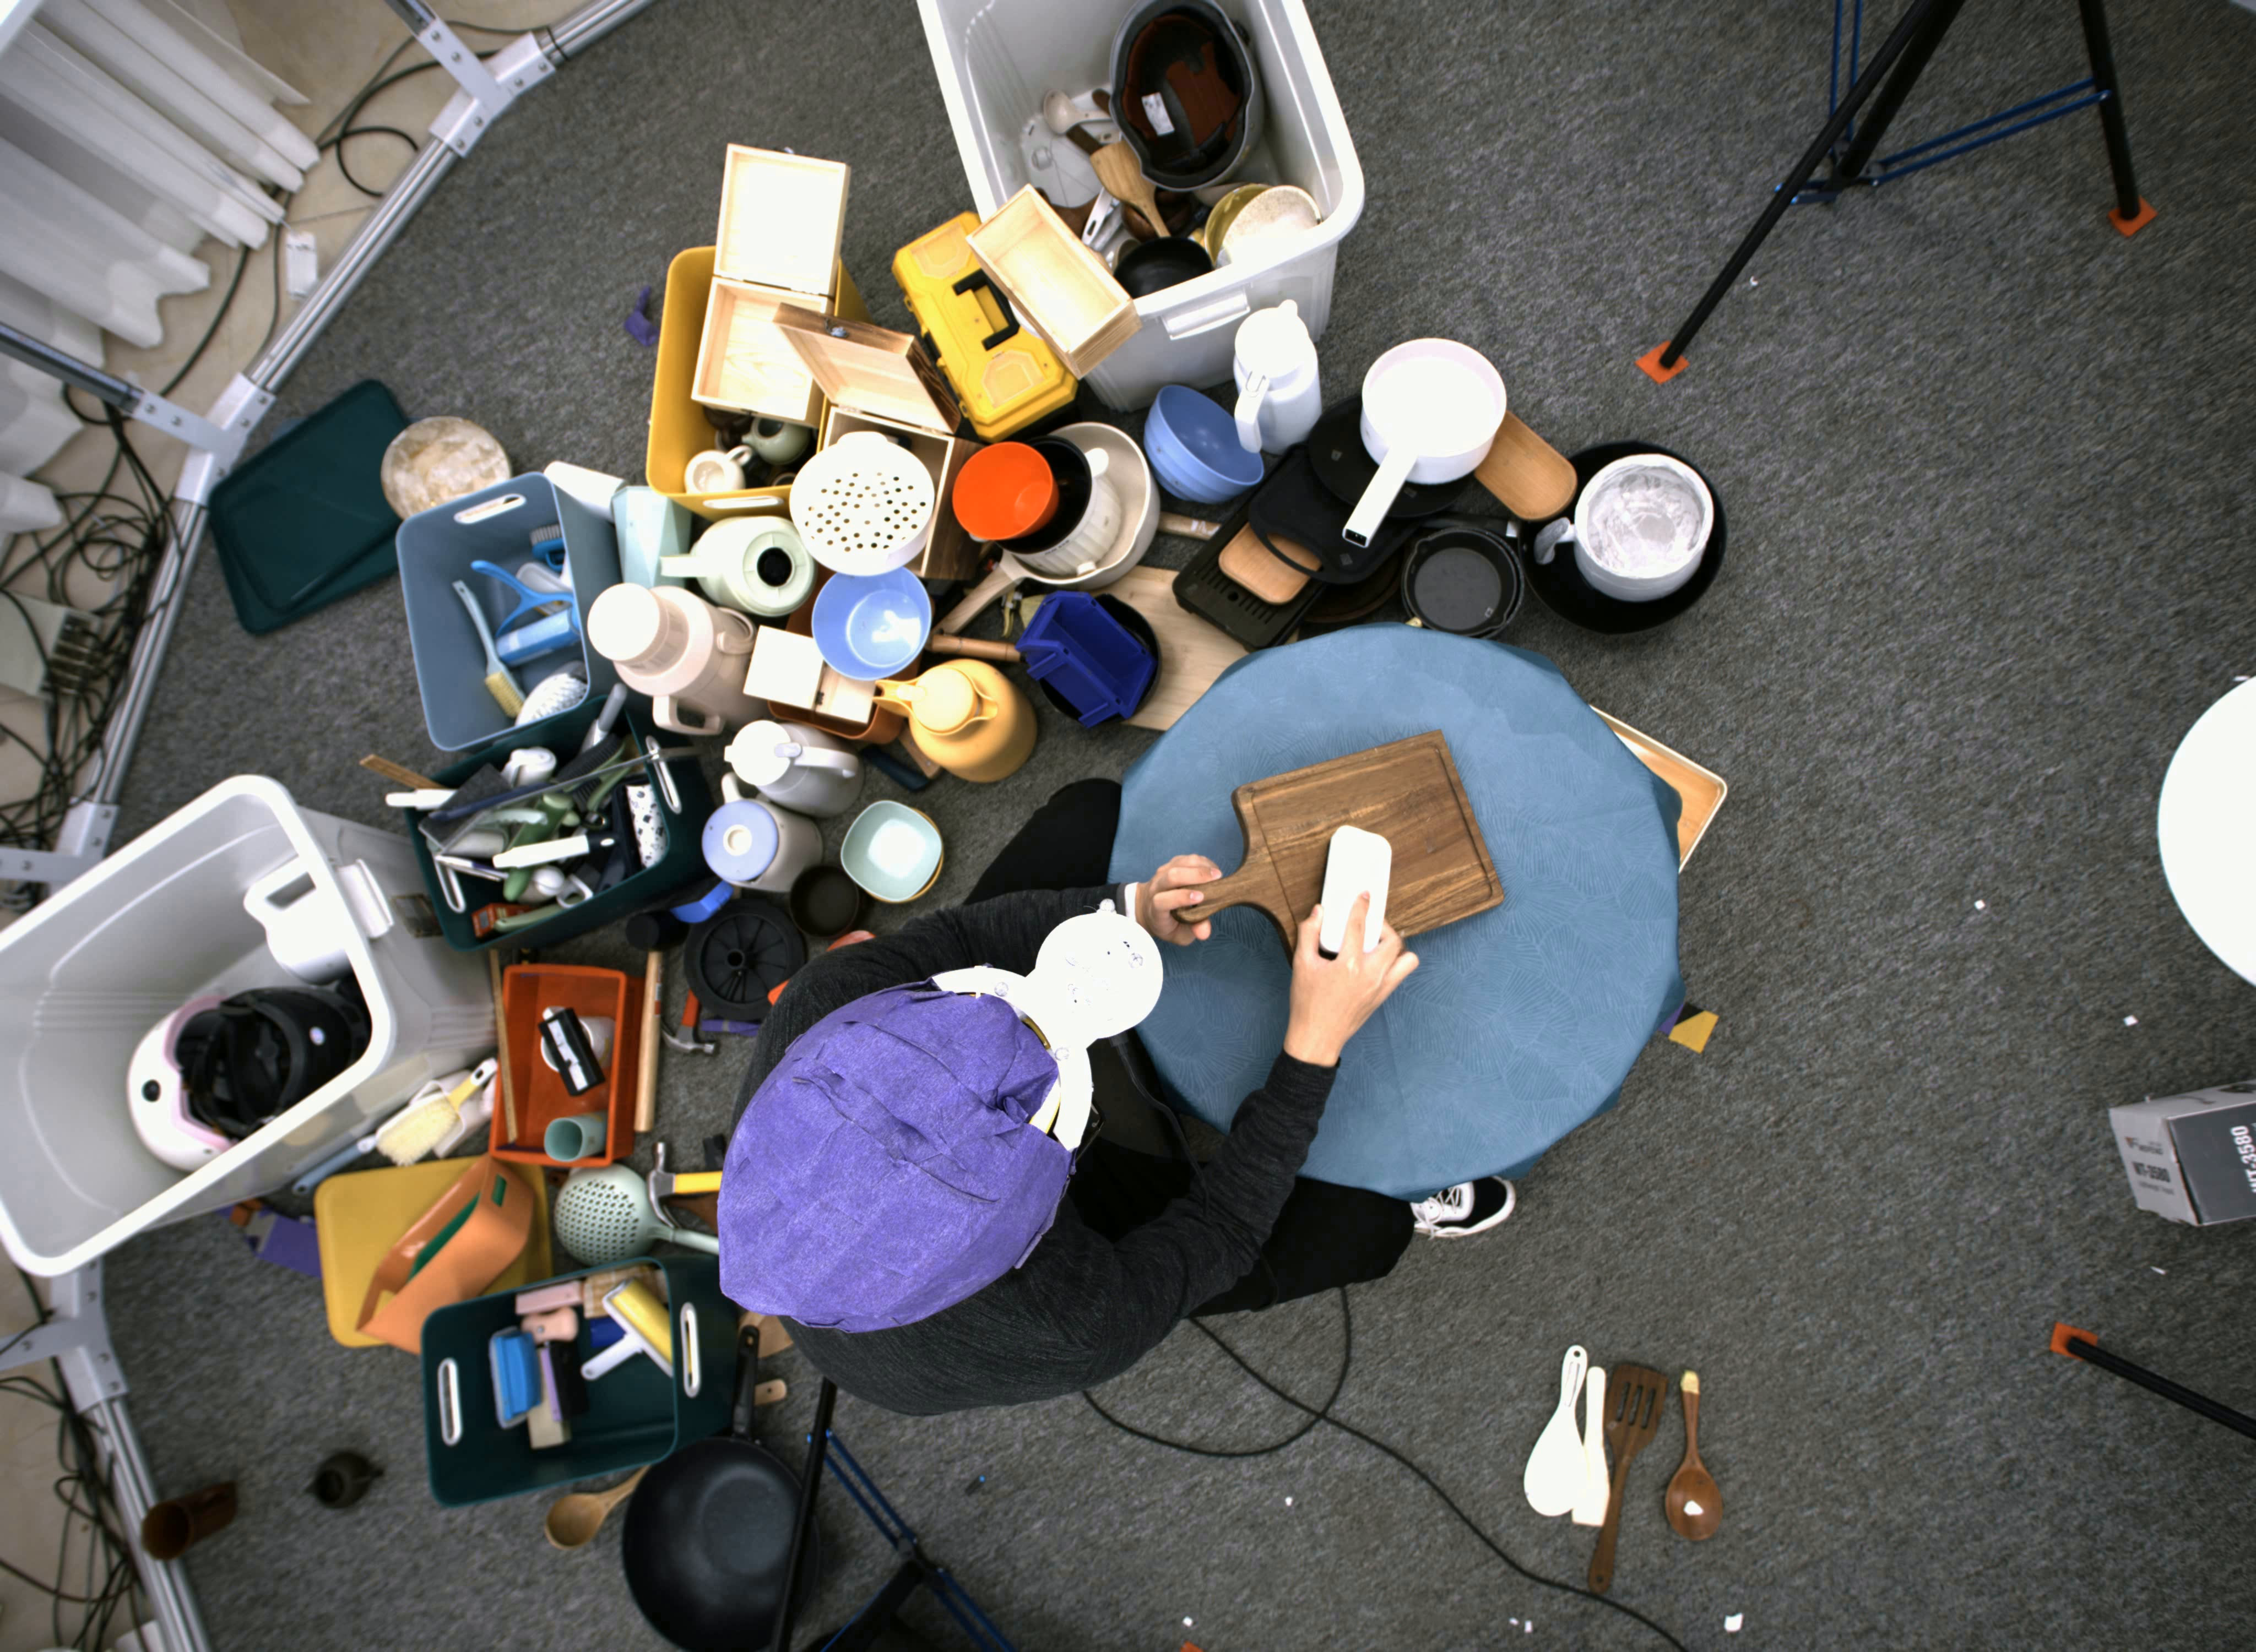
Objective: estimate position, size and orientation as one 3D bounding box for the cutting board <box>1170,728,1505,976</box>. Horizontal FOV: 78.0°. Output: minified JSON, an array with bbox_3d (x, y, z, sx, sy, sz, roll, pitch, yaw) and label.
[{"bbox_3d":[0.201,0.034,1.387,0.349,0.023,0.200,-17,83,-18],"label":"cutting board"}]

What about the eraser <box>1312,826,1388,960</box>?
[{"bbox_3d":[0.218,0.064,1.361,0.063,0.035,0.129,17,70,-13],"label":"eraser"}]
